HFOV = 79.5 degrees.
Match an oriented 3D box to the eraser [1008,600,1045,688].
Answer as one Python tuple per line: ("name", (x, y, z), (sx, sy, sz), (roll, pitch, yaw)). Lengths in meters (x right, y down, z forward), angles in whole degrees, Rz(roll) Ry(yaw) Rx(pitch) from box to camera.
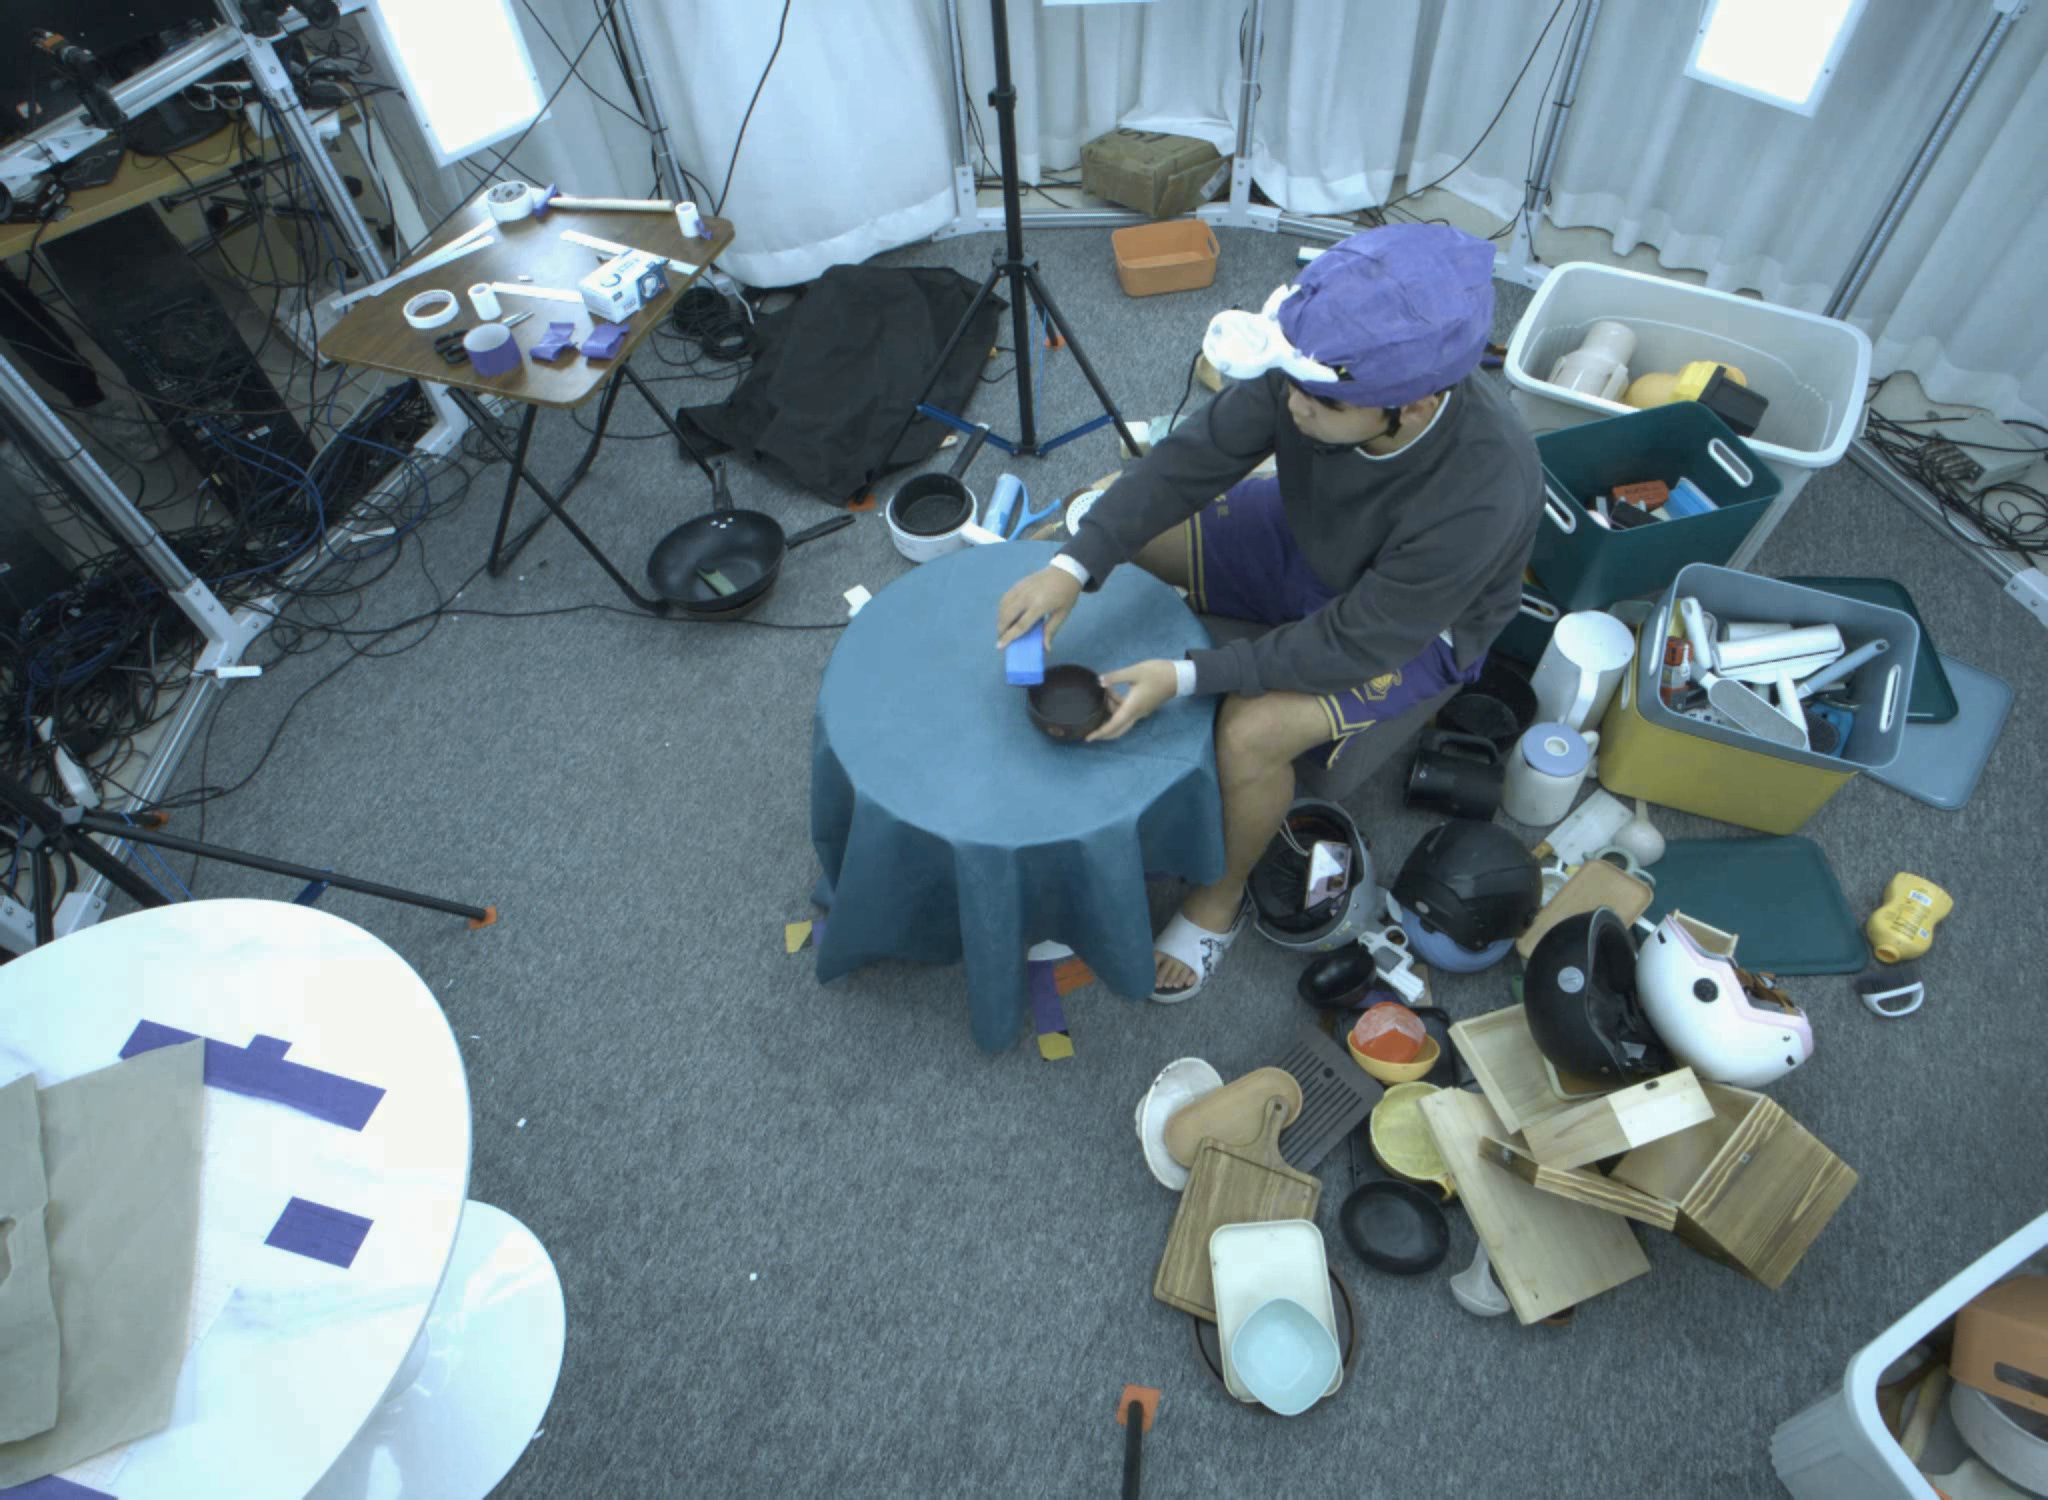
("eraser", (0.003, -0.162, 1.799), (0.054, 0.048, 0.160), (-3, 47, 4))

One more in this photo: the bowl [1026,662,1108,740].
("bowl", (0.063, -0.063, 1.786), (0.118, 0.070, 0.117), (0, 53, 1))
